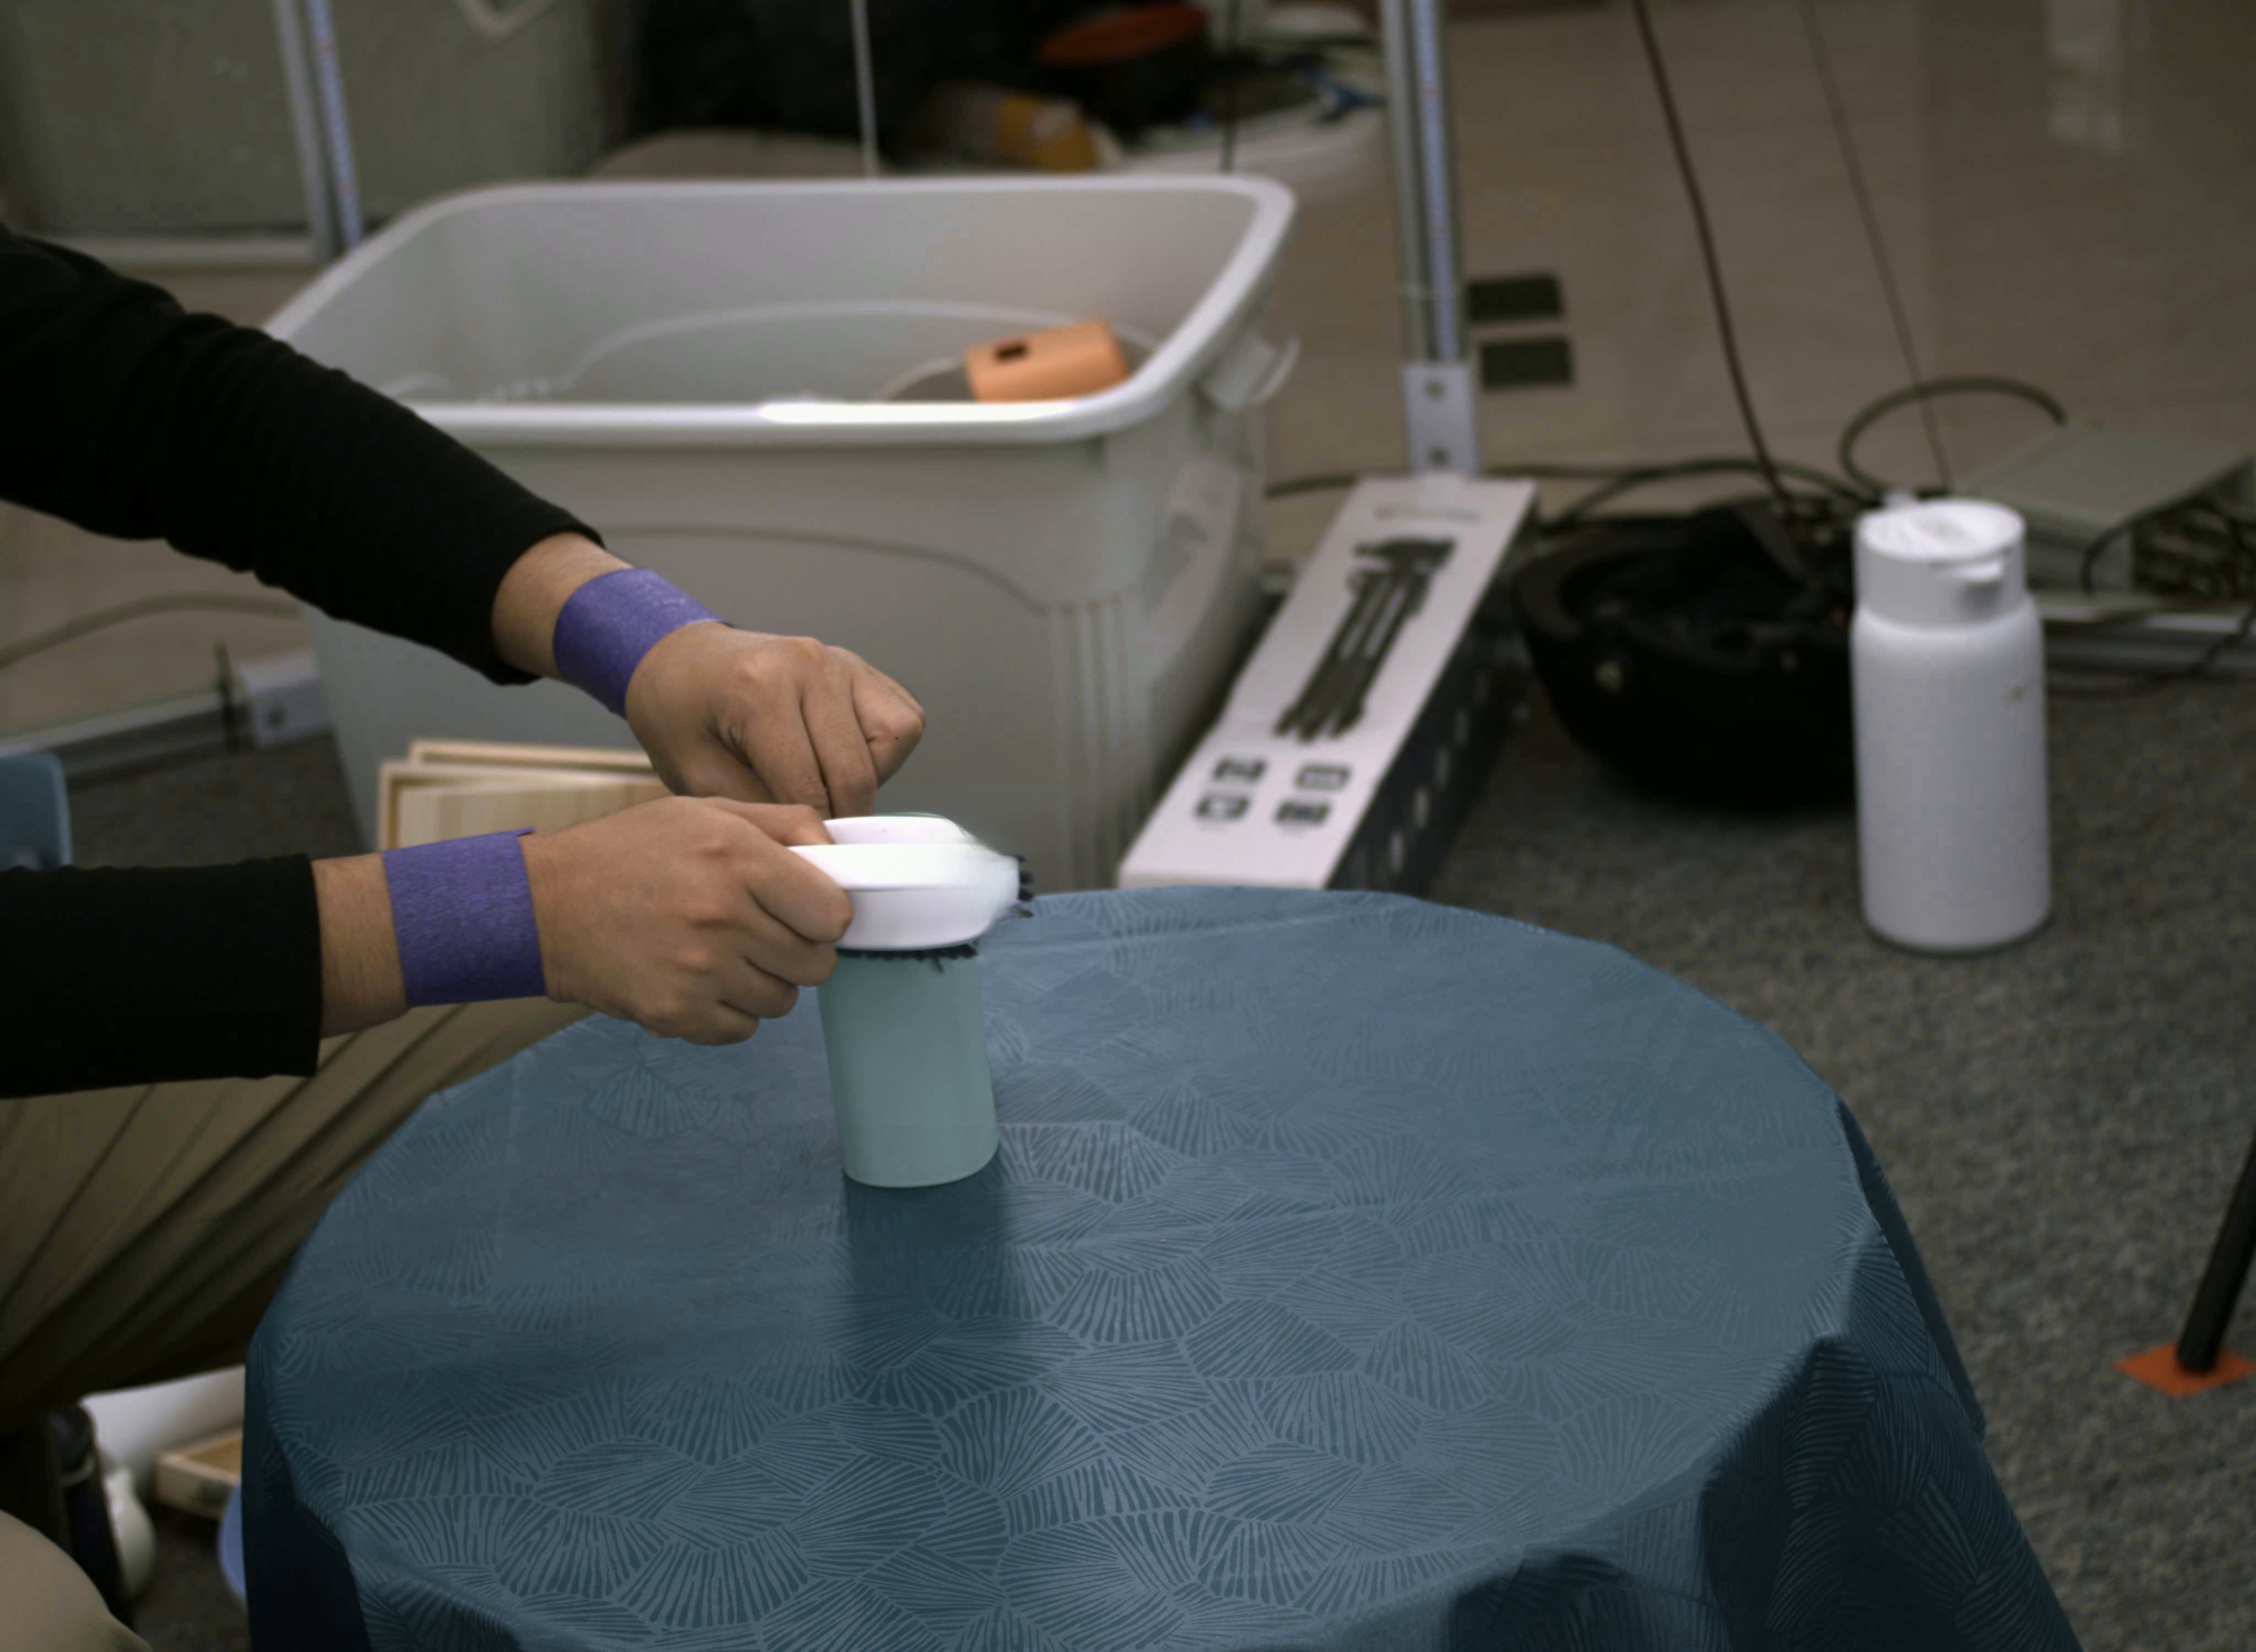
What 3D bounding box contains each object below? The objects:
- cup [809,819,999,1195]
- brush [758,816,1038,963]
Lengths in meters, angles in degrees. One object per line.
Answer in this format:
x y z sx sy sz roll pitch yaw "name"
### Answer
-0.087 0.070 2.168 0.066 0.134 0.066 -5 26 2 "cup"
-0.088 0.021 2.077 0.099 0.050 0.073 3 -7 12 "brush"
